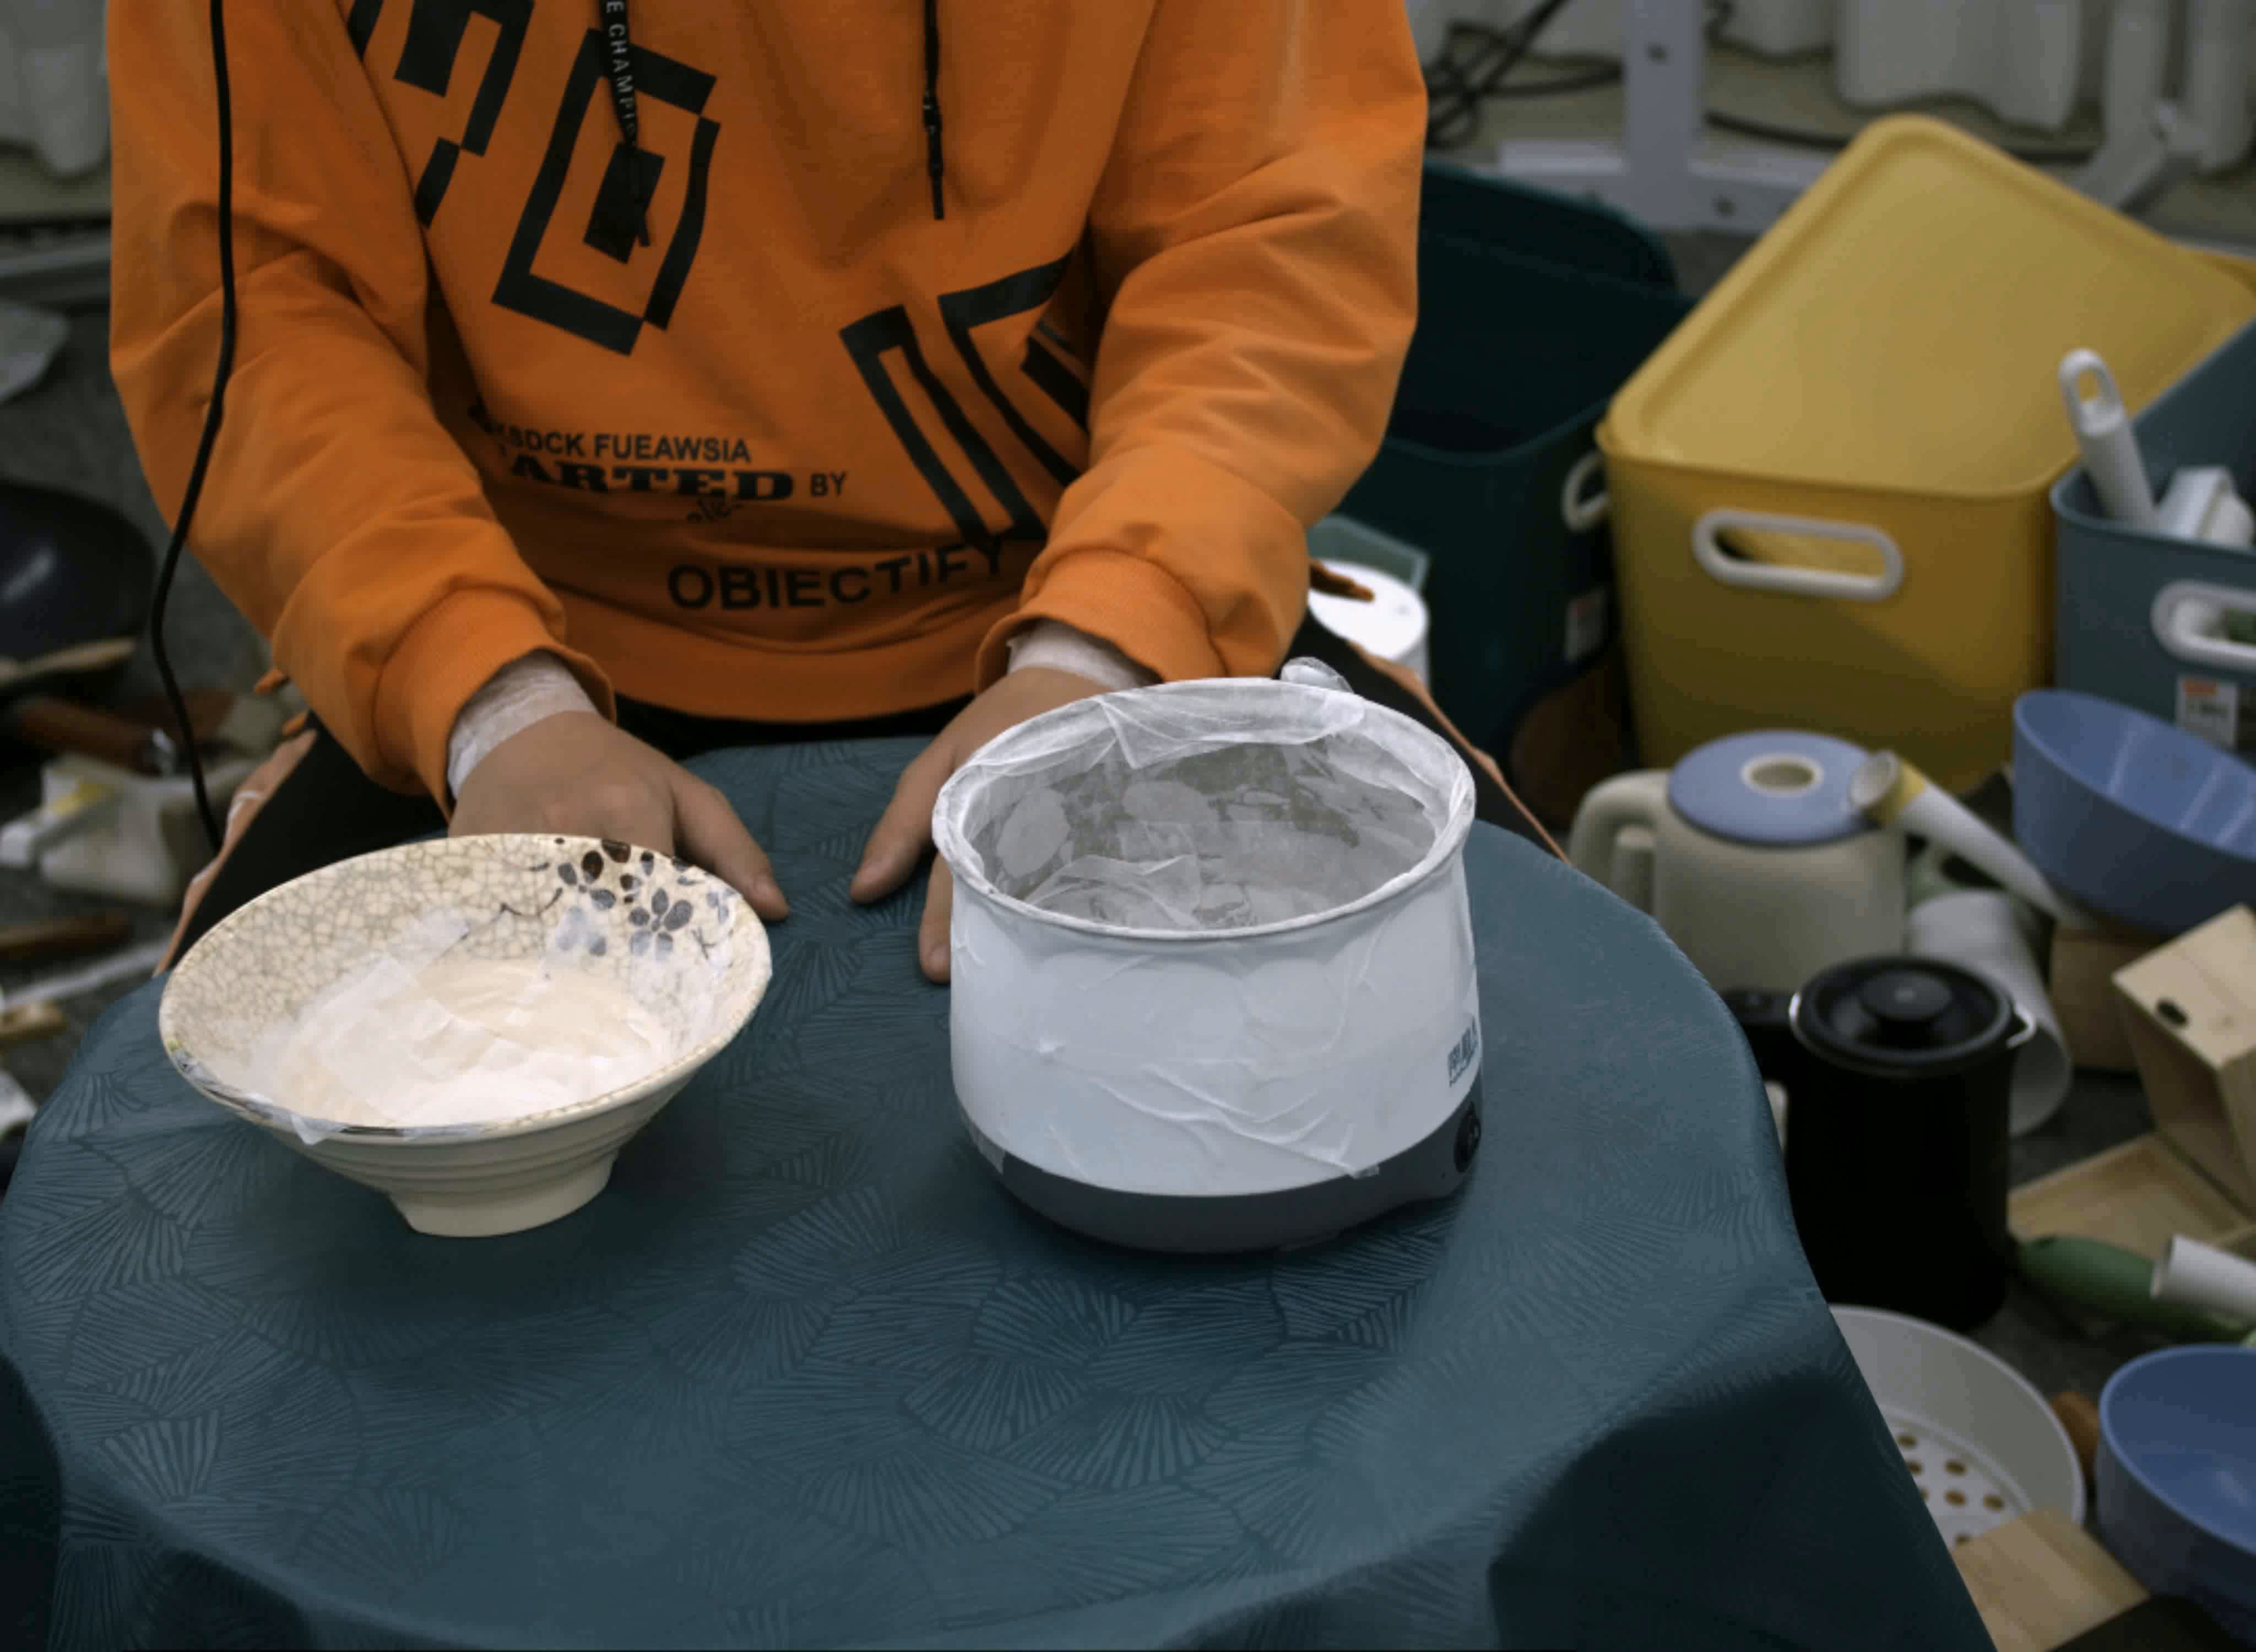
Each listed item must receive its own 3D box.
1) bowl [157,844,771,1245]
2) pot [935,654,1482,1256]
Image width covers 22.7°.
[{"bbox_3d":[-0.217,0.085,1.874,0.203,0.077,0.207,-2,26,2],"label":"bowl"},{"bbox_3d":[0.037,0.035,1.877,0.177,0.135,0.238,7,29,18],"label":"pot"}]
